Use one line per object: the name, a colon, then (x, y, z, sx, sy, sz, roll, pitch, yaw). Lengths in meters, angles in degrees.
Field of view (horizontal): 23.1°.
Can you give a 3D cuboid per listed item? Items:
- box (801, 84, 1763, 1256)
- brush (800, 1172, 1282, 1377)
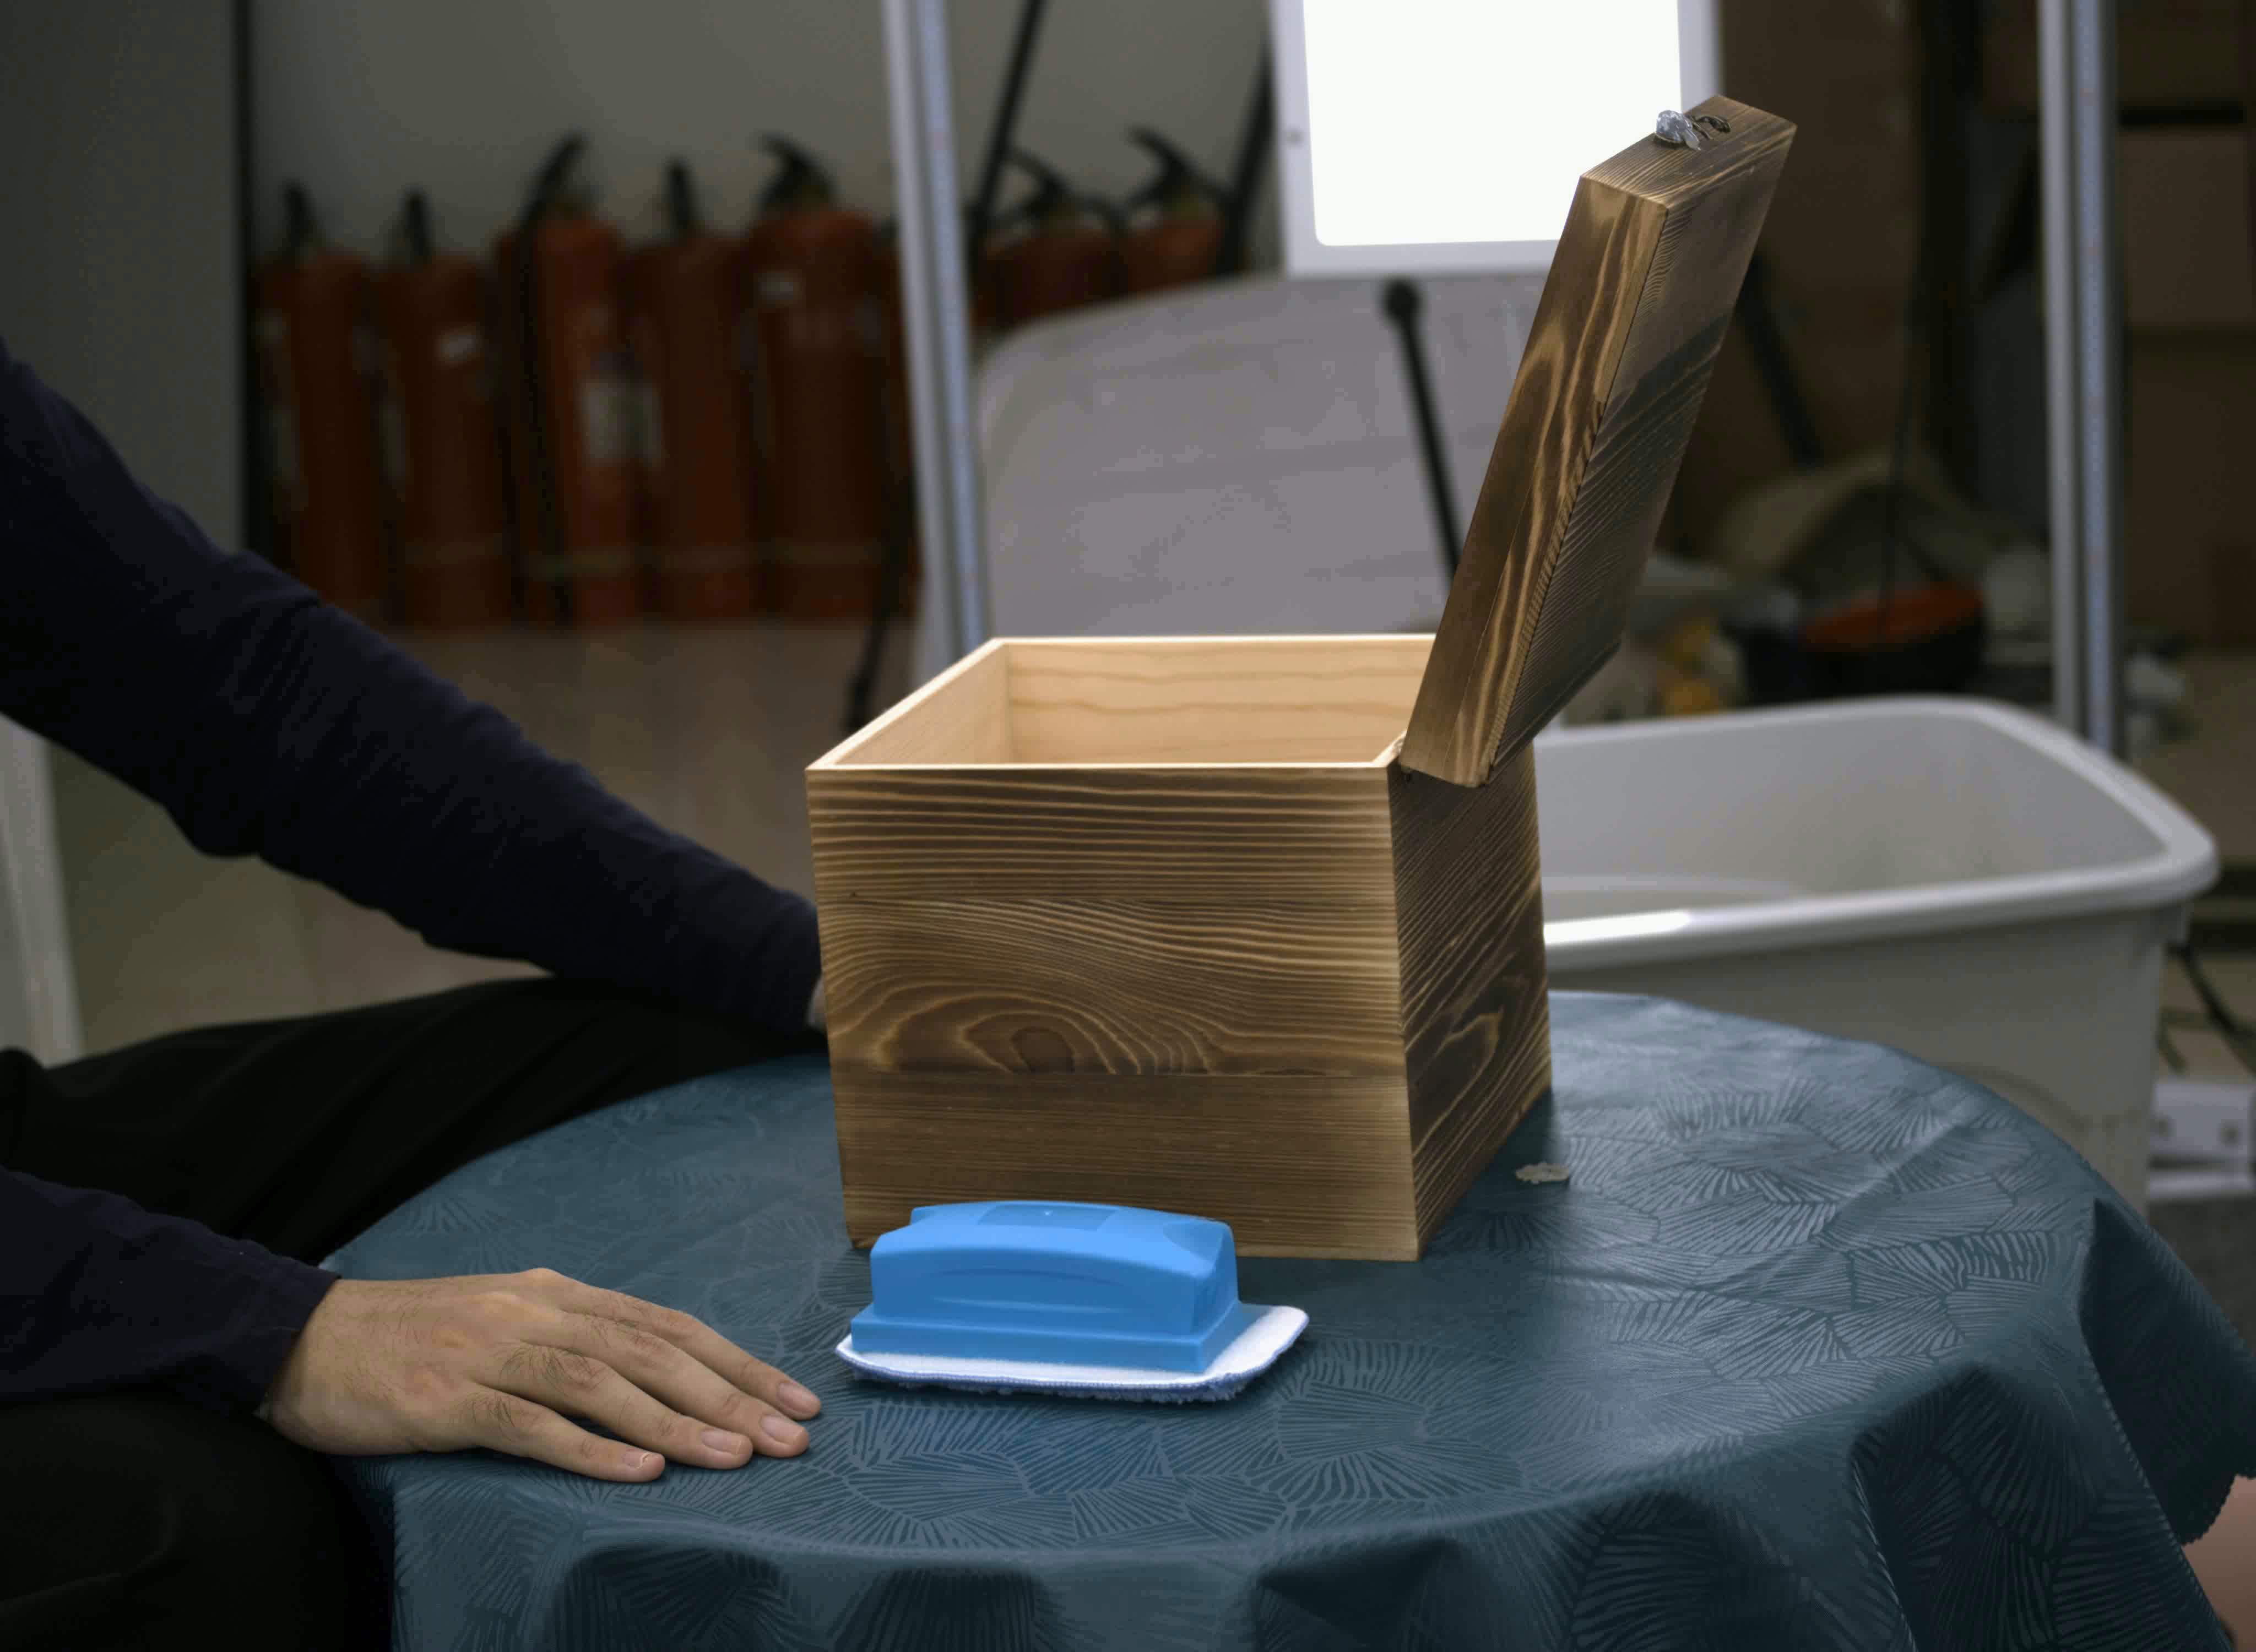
box: (0.065, -0.057, 1.864, 0.326, 0.377, 0.205, 0, 14, 19)
brush: (-0.027, 0.140, 1.726, 0.146, 0.056, 0.082, 4, 13, 26)
